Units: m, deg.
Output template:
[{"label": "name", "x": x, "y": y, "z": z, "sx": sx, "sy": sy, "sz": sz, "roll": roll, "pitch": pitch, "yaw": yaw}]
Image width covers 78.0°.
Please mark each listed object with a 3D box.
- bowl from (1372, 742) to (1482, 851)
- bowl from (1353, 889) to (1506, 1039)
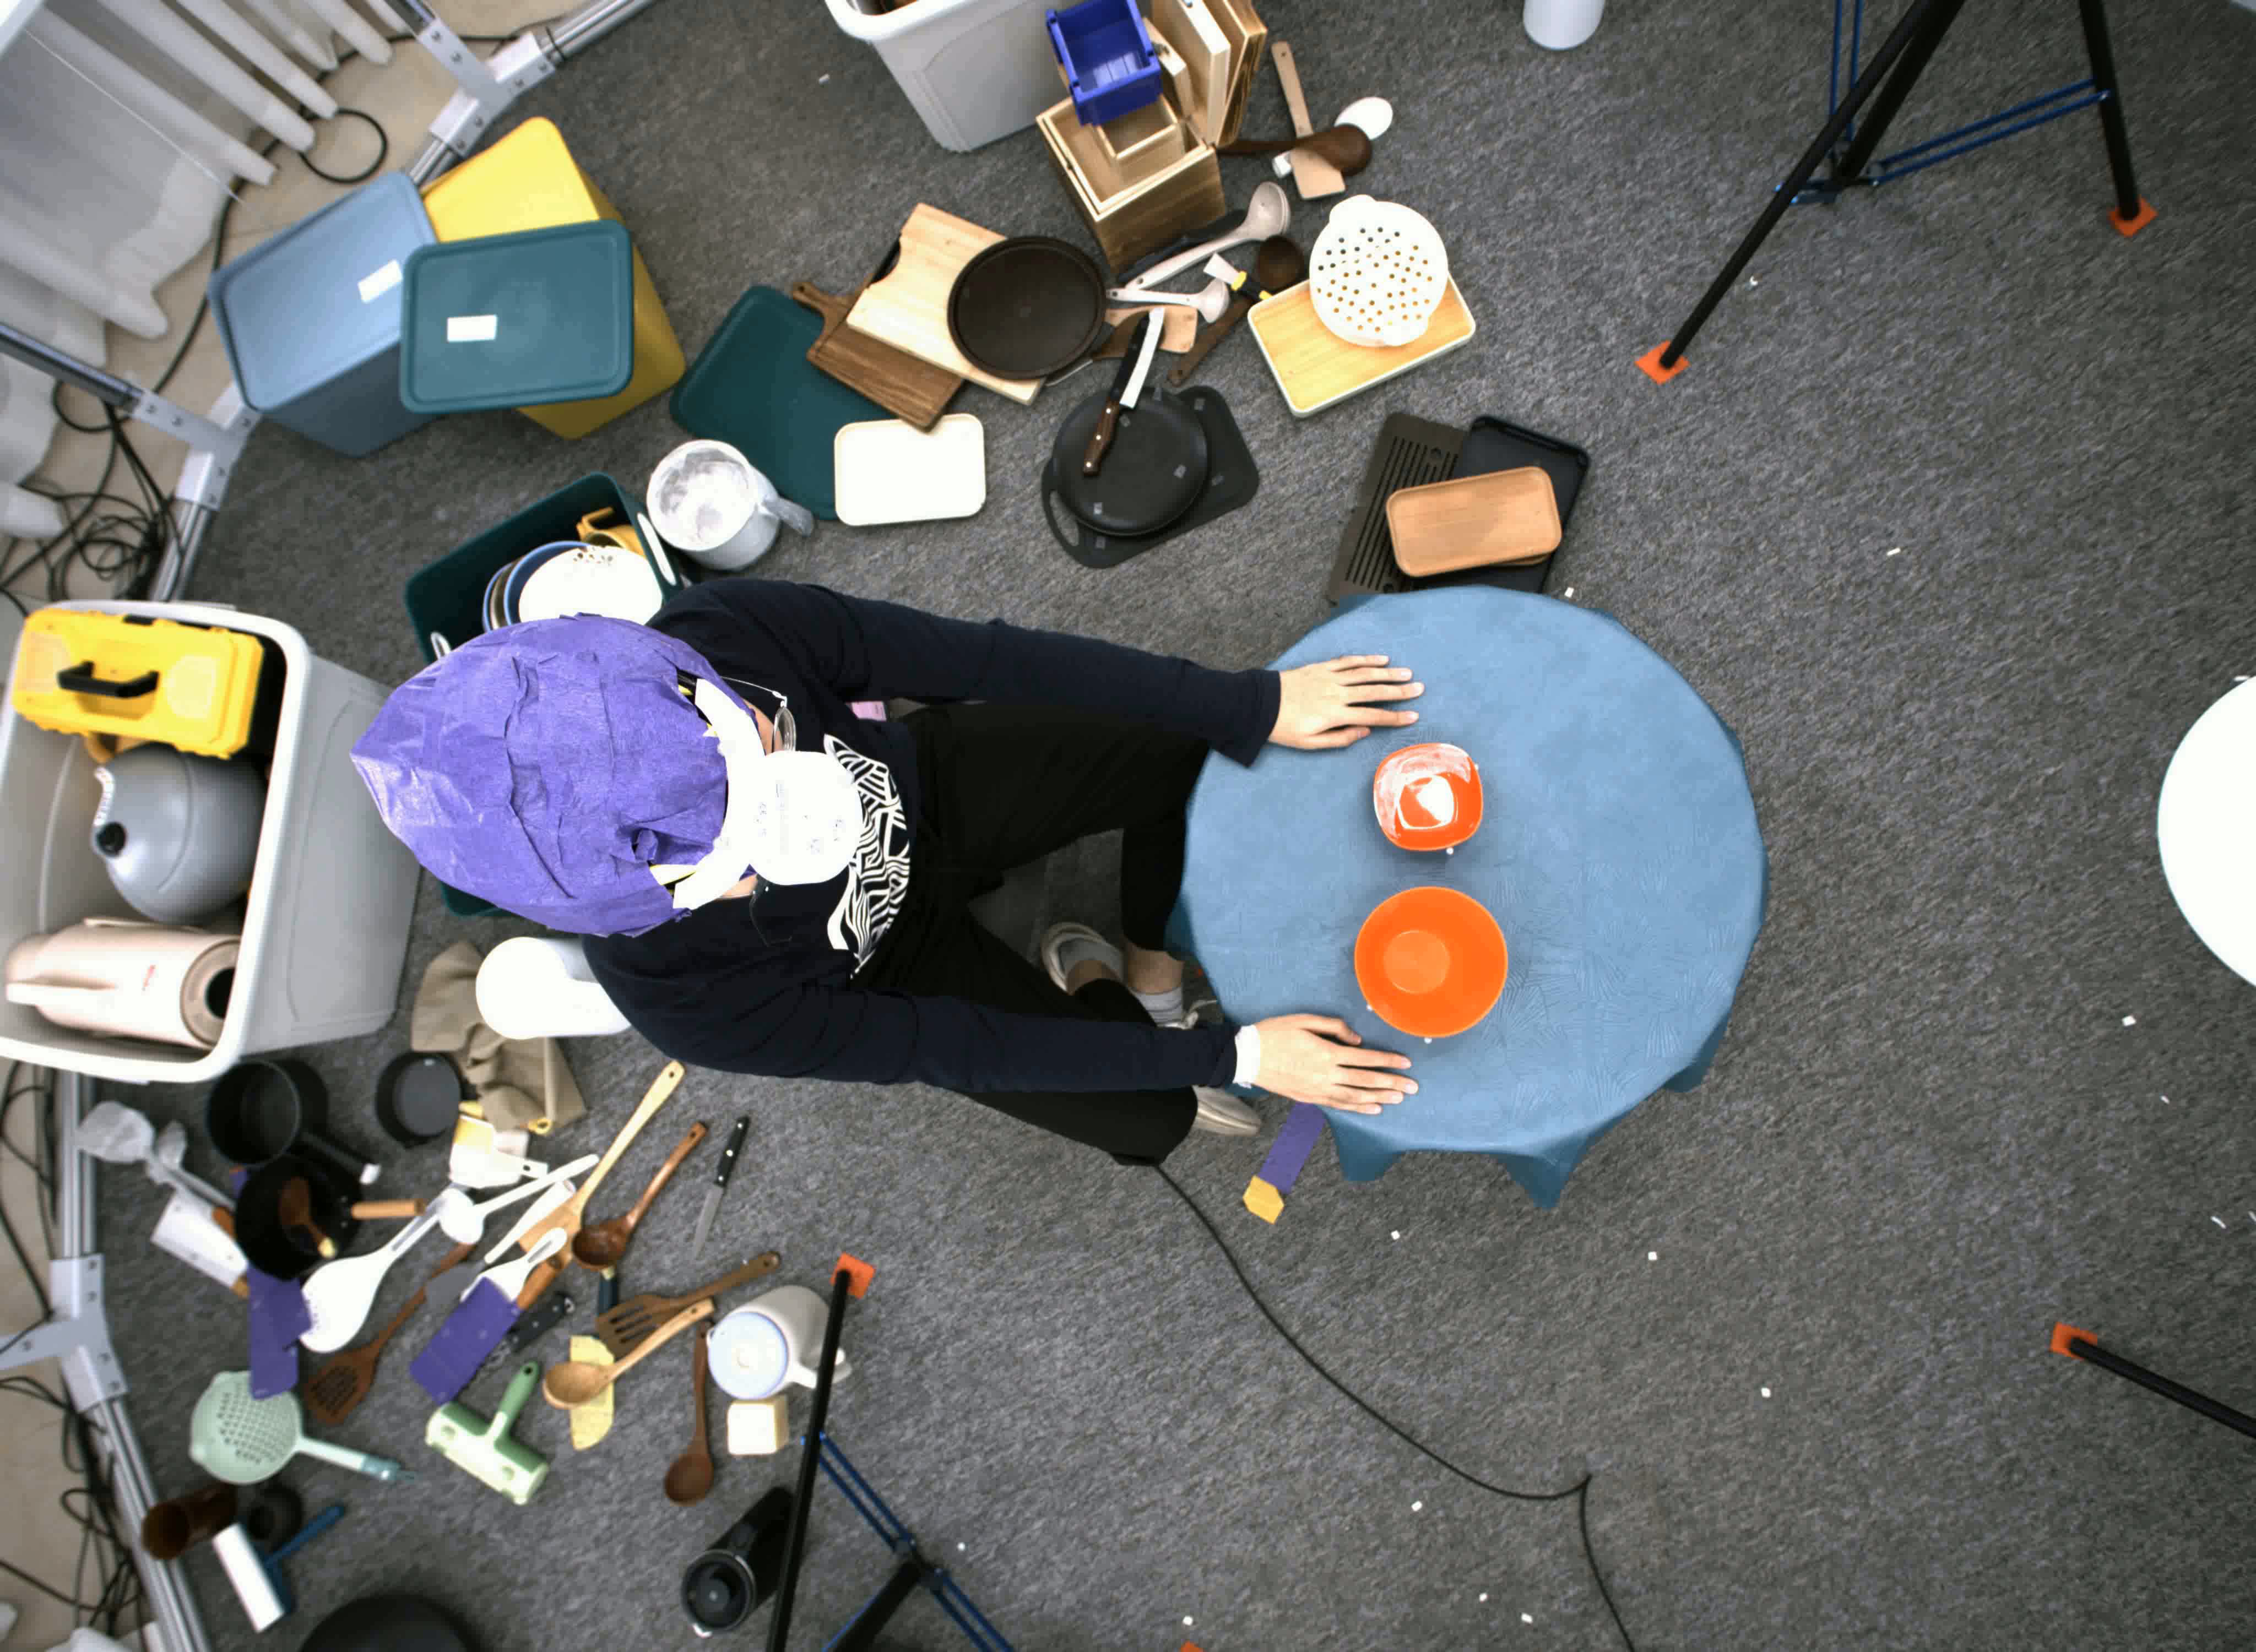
[{"label": "bowl", "x": 0.311, "y": -0.030, "z": 1.433, "sx": 0.119, "sy": 0.051, "sz": 0.118, "roll": -1, "pitch": 88, "yaw": 11}, {"label": "bowl", "x": 0.303, "y": 0.138, "z": 1.399, "sx": 0.148, "sy": 0.104, "sz": 0.147, "roll": -1, "pitch": 86, "yaw": 10}]
